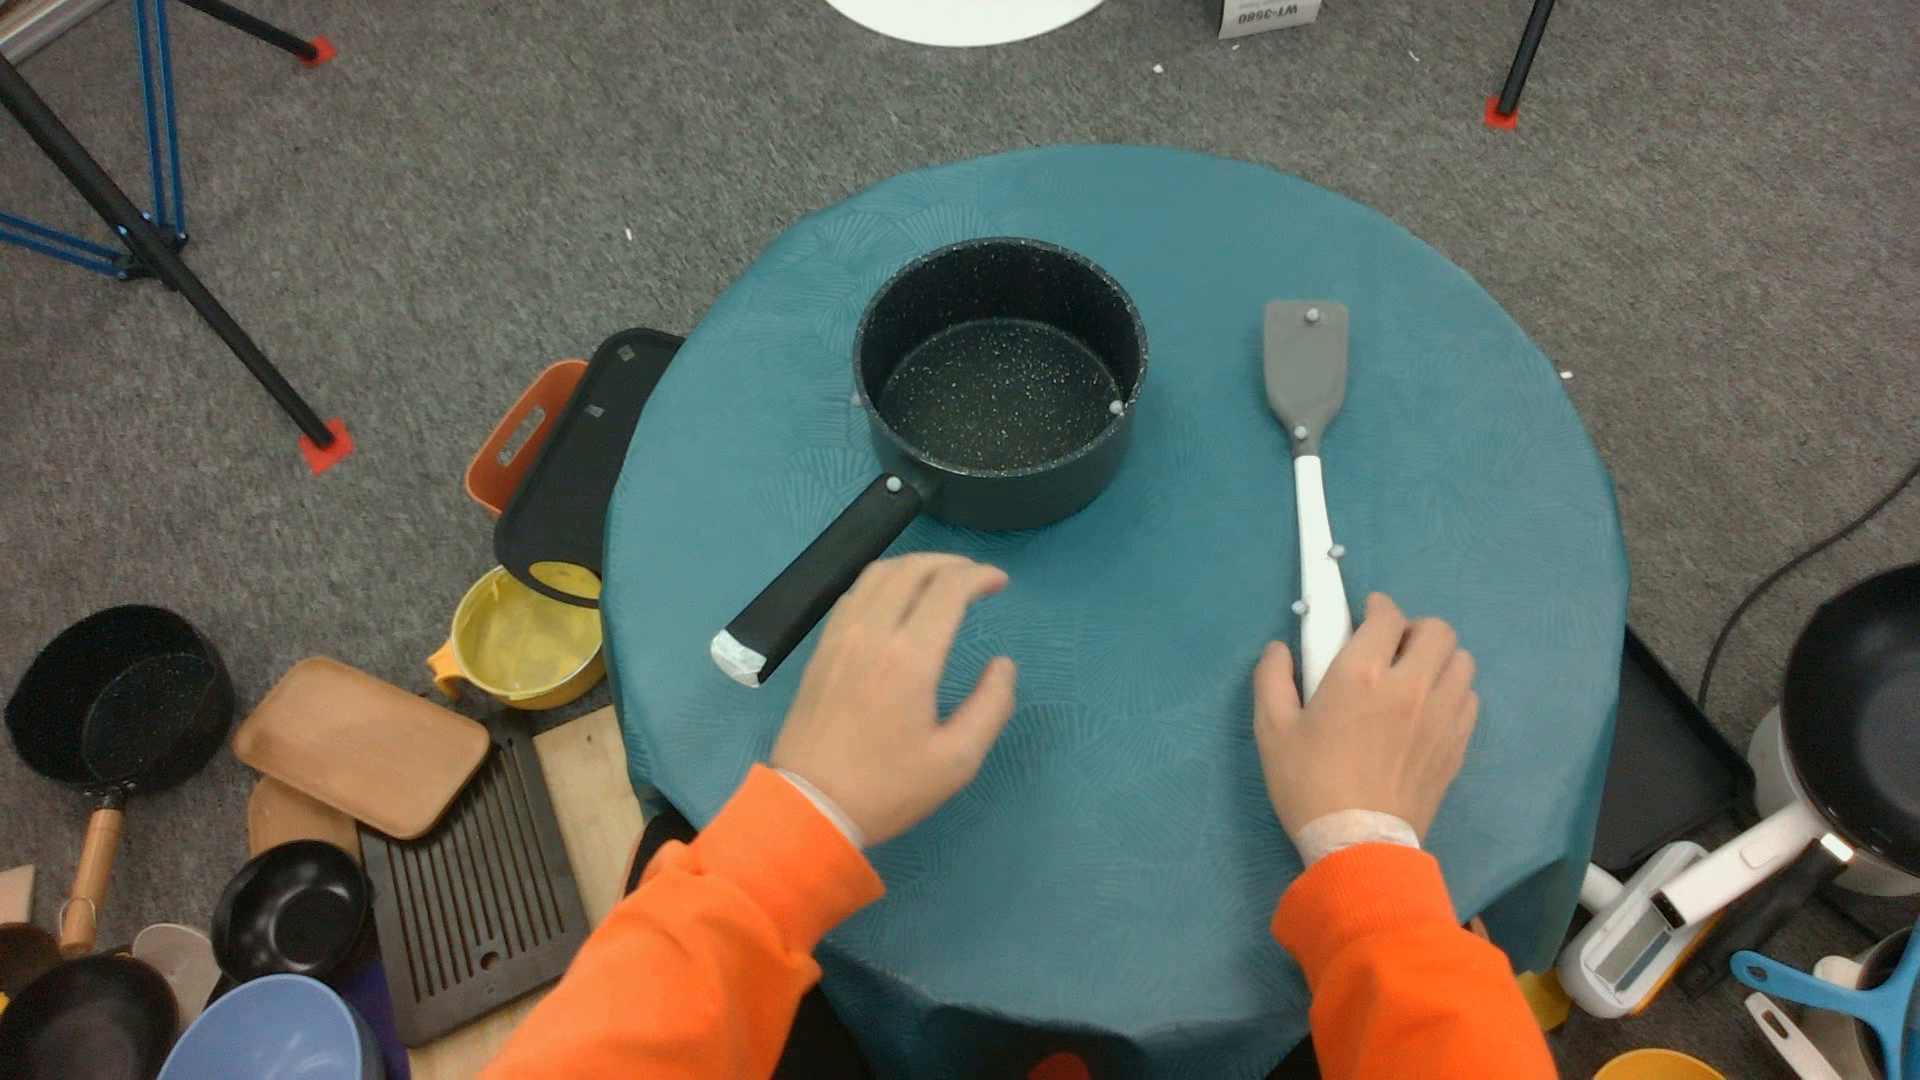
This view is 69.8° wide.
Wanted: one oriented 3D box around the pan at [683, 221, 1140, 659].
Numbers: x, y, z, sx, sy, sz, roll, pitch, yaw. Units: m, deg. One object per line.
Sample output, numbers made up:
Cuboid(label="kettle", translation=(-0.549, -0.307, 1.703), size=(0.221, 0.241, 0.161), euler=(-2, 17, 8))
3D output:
Cuboid(label="pan", translation=(-0.029, -0.045, 0.789), size=(0.172, 0.086, 0.330), euler=(32, 65, 19))

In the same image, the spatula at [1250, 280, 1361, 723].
Cuboid(label="spatula", translation=(0.204, -0.033, 0.805), size=(0.058, 0.032, 0.289), euler=(-1, 62, 7))
